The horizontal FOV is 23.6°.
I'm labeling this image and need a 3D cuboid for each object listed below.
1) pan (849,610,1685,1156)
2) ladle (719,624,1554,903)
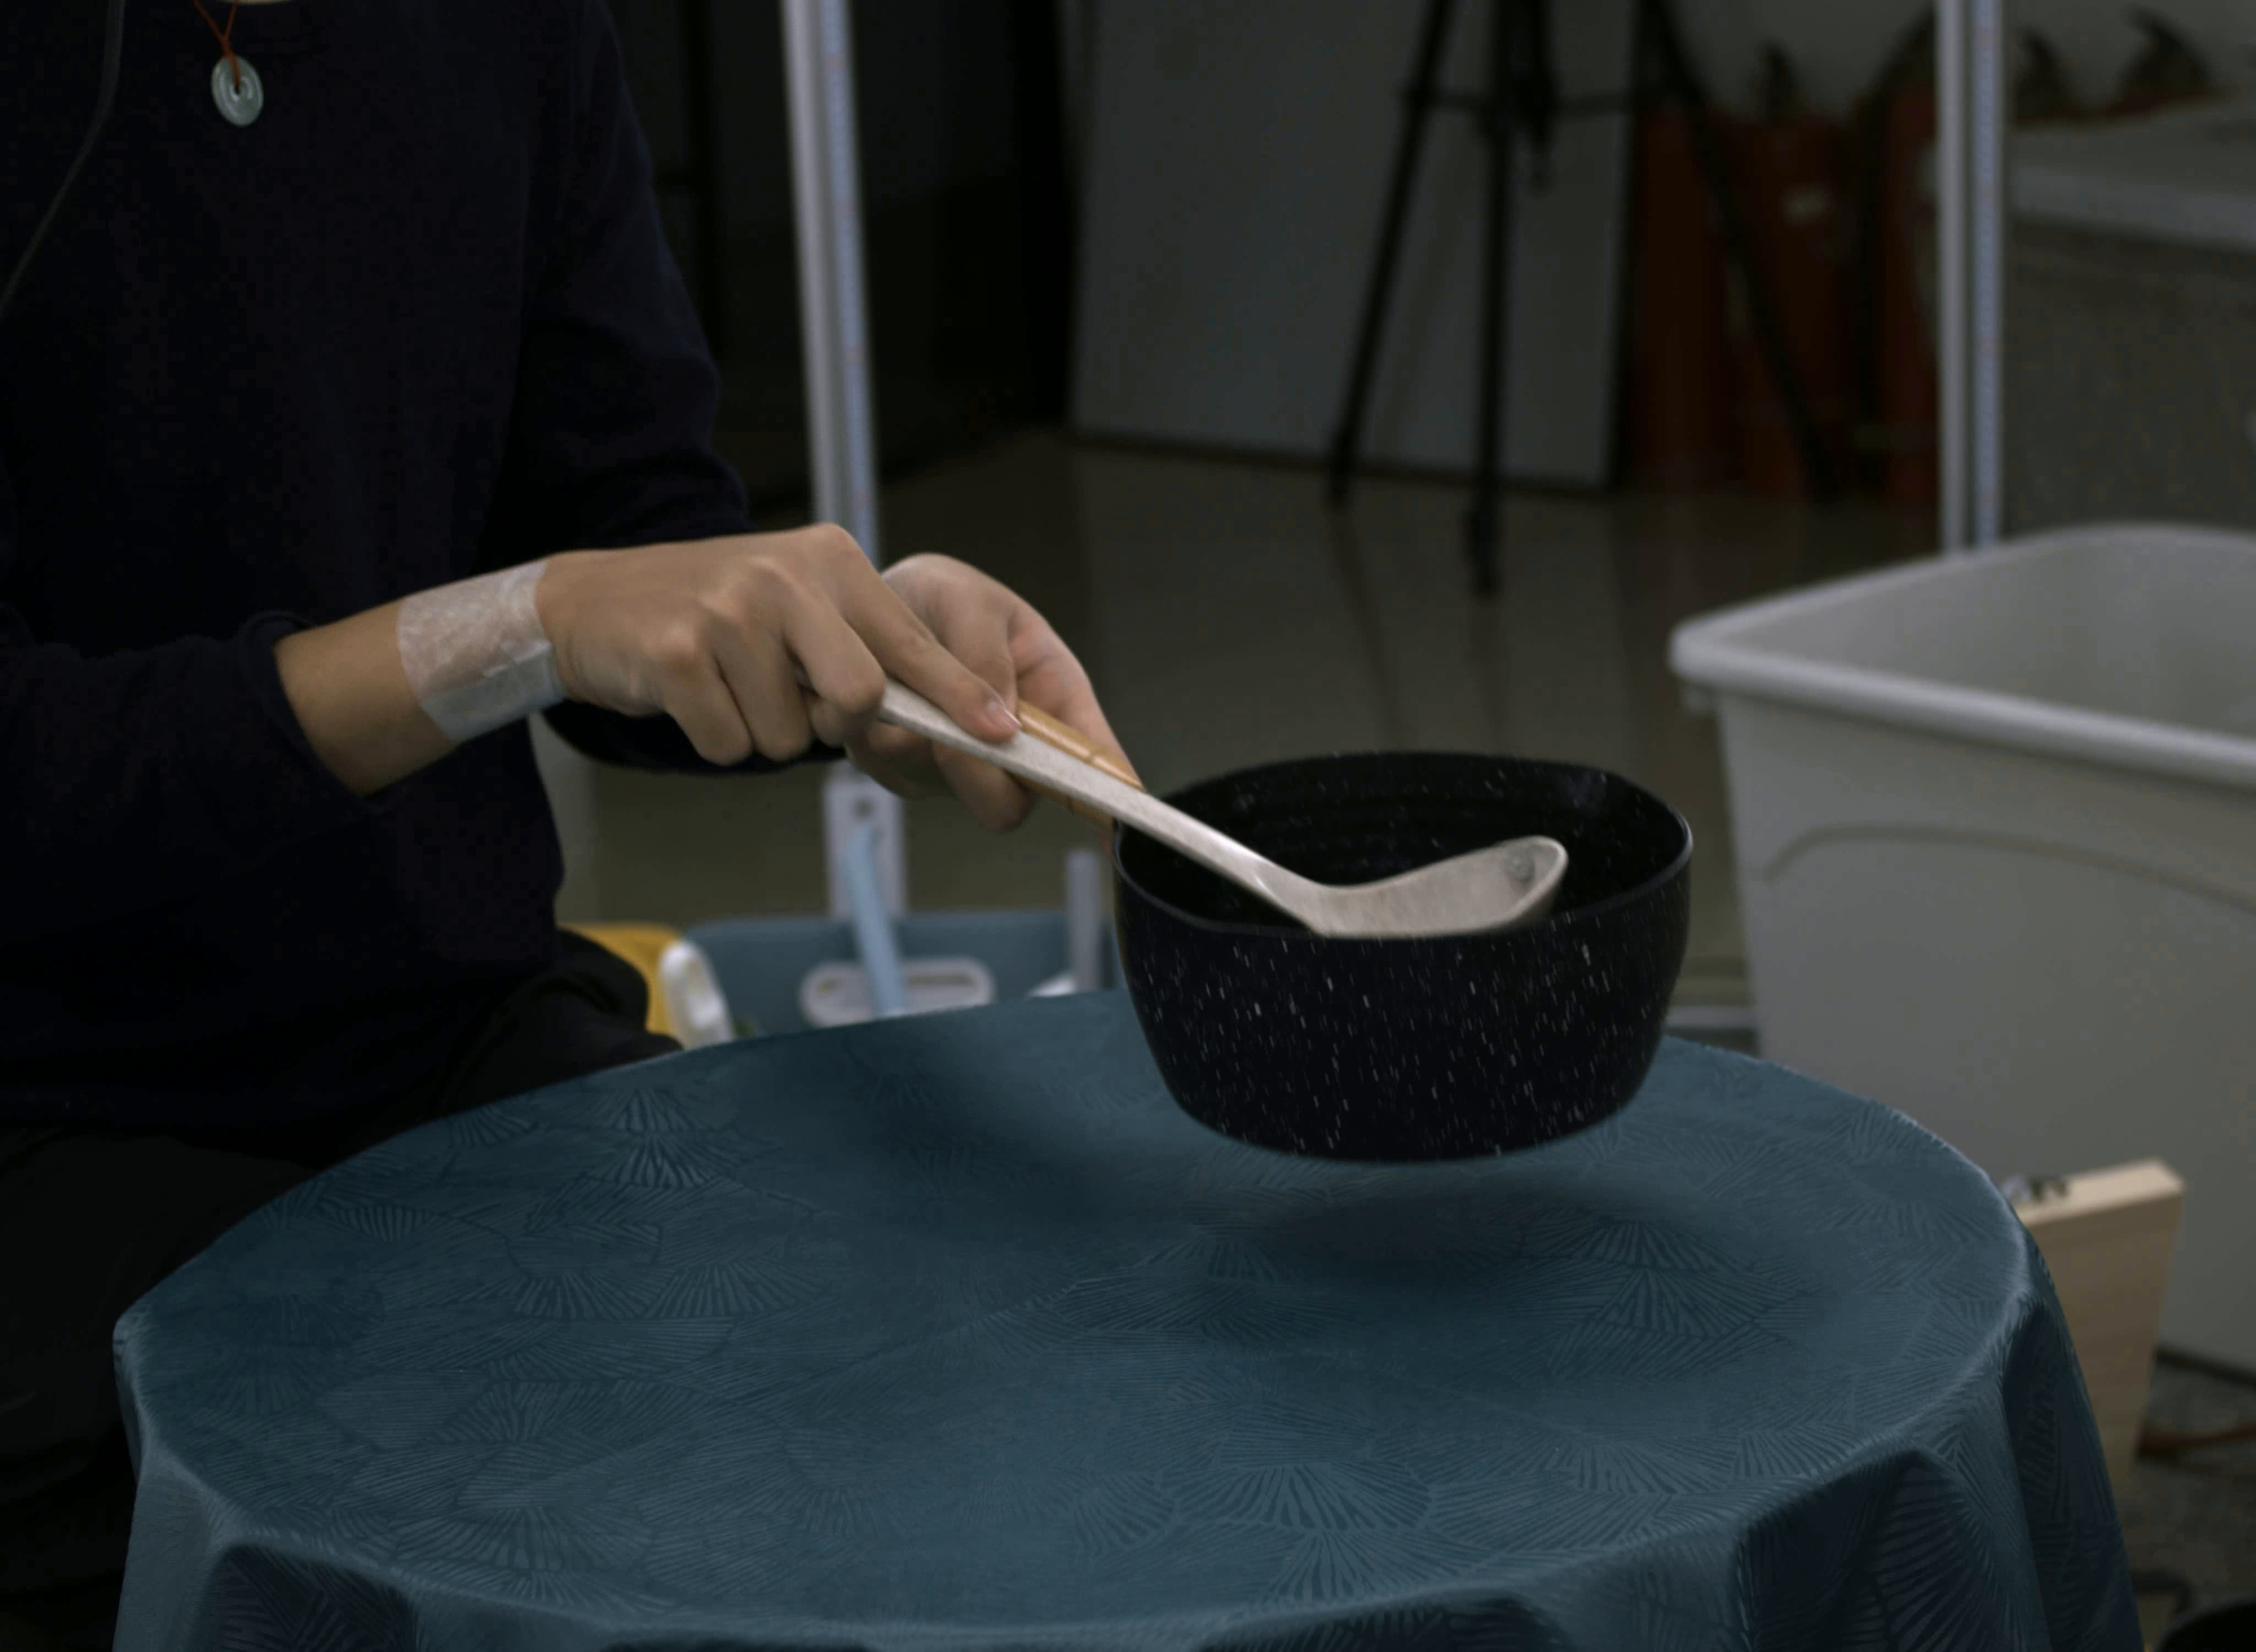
[{"bbox_3d":[0.028,0.012,1.754,0.203,0.109,0.346,-20,25,-41],"label":"pan"},{"bbox_3d":[0.003,-0.027,1.714,0.273,0.070,0.089,27,29,3],"label":"ladle"}]
